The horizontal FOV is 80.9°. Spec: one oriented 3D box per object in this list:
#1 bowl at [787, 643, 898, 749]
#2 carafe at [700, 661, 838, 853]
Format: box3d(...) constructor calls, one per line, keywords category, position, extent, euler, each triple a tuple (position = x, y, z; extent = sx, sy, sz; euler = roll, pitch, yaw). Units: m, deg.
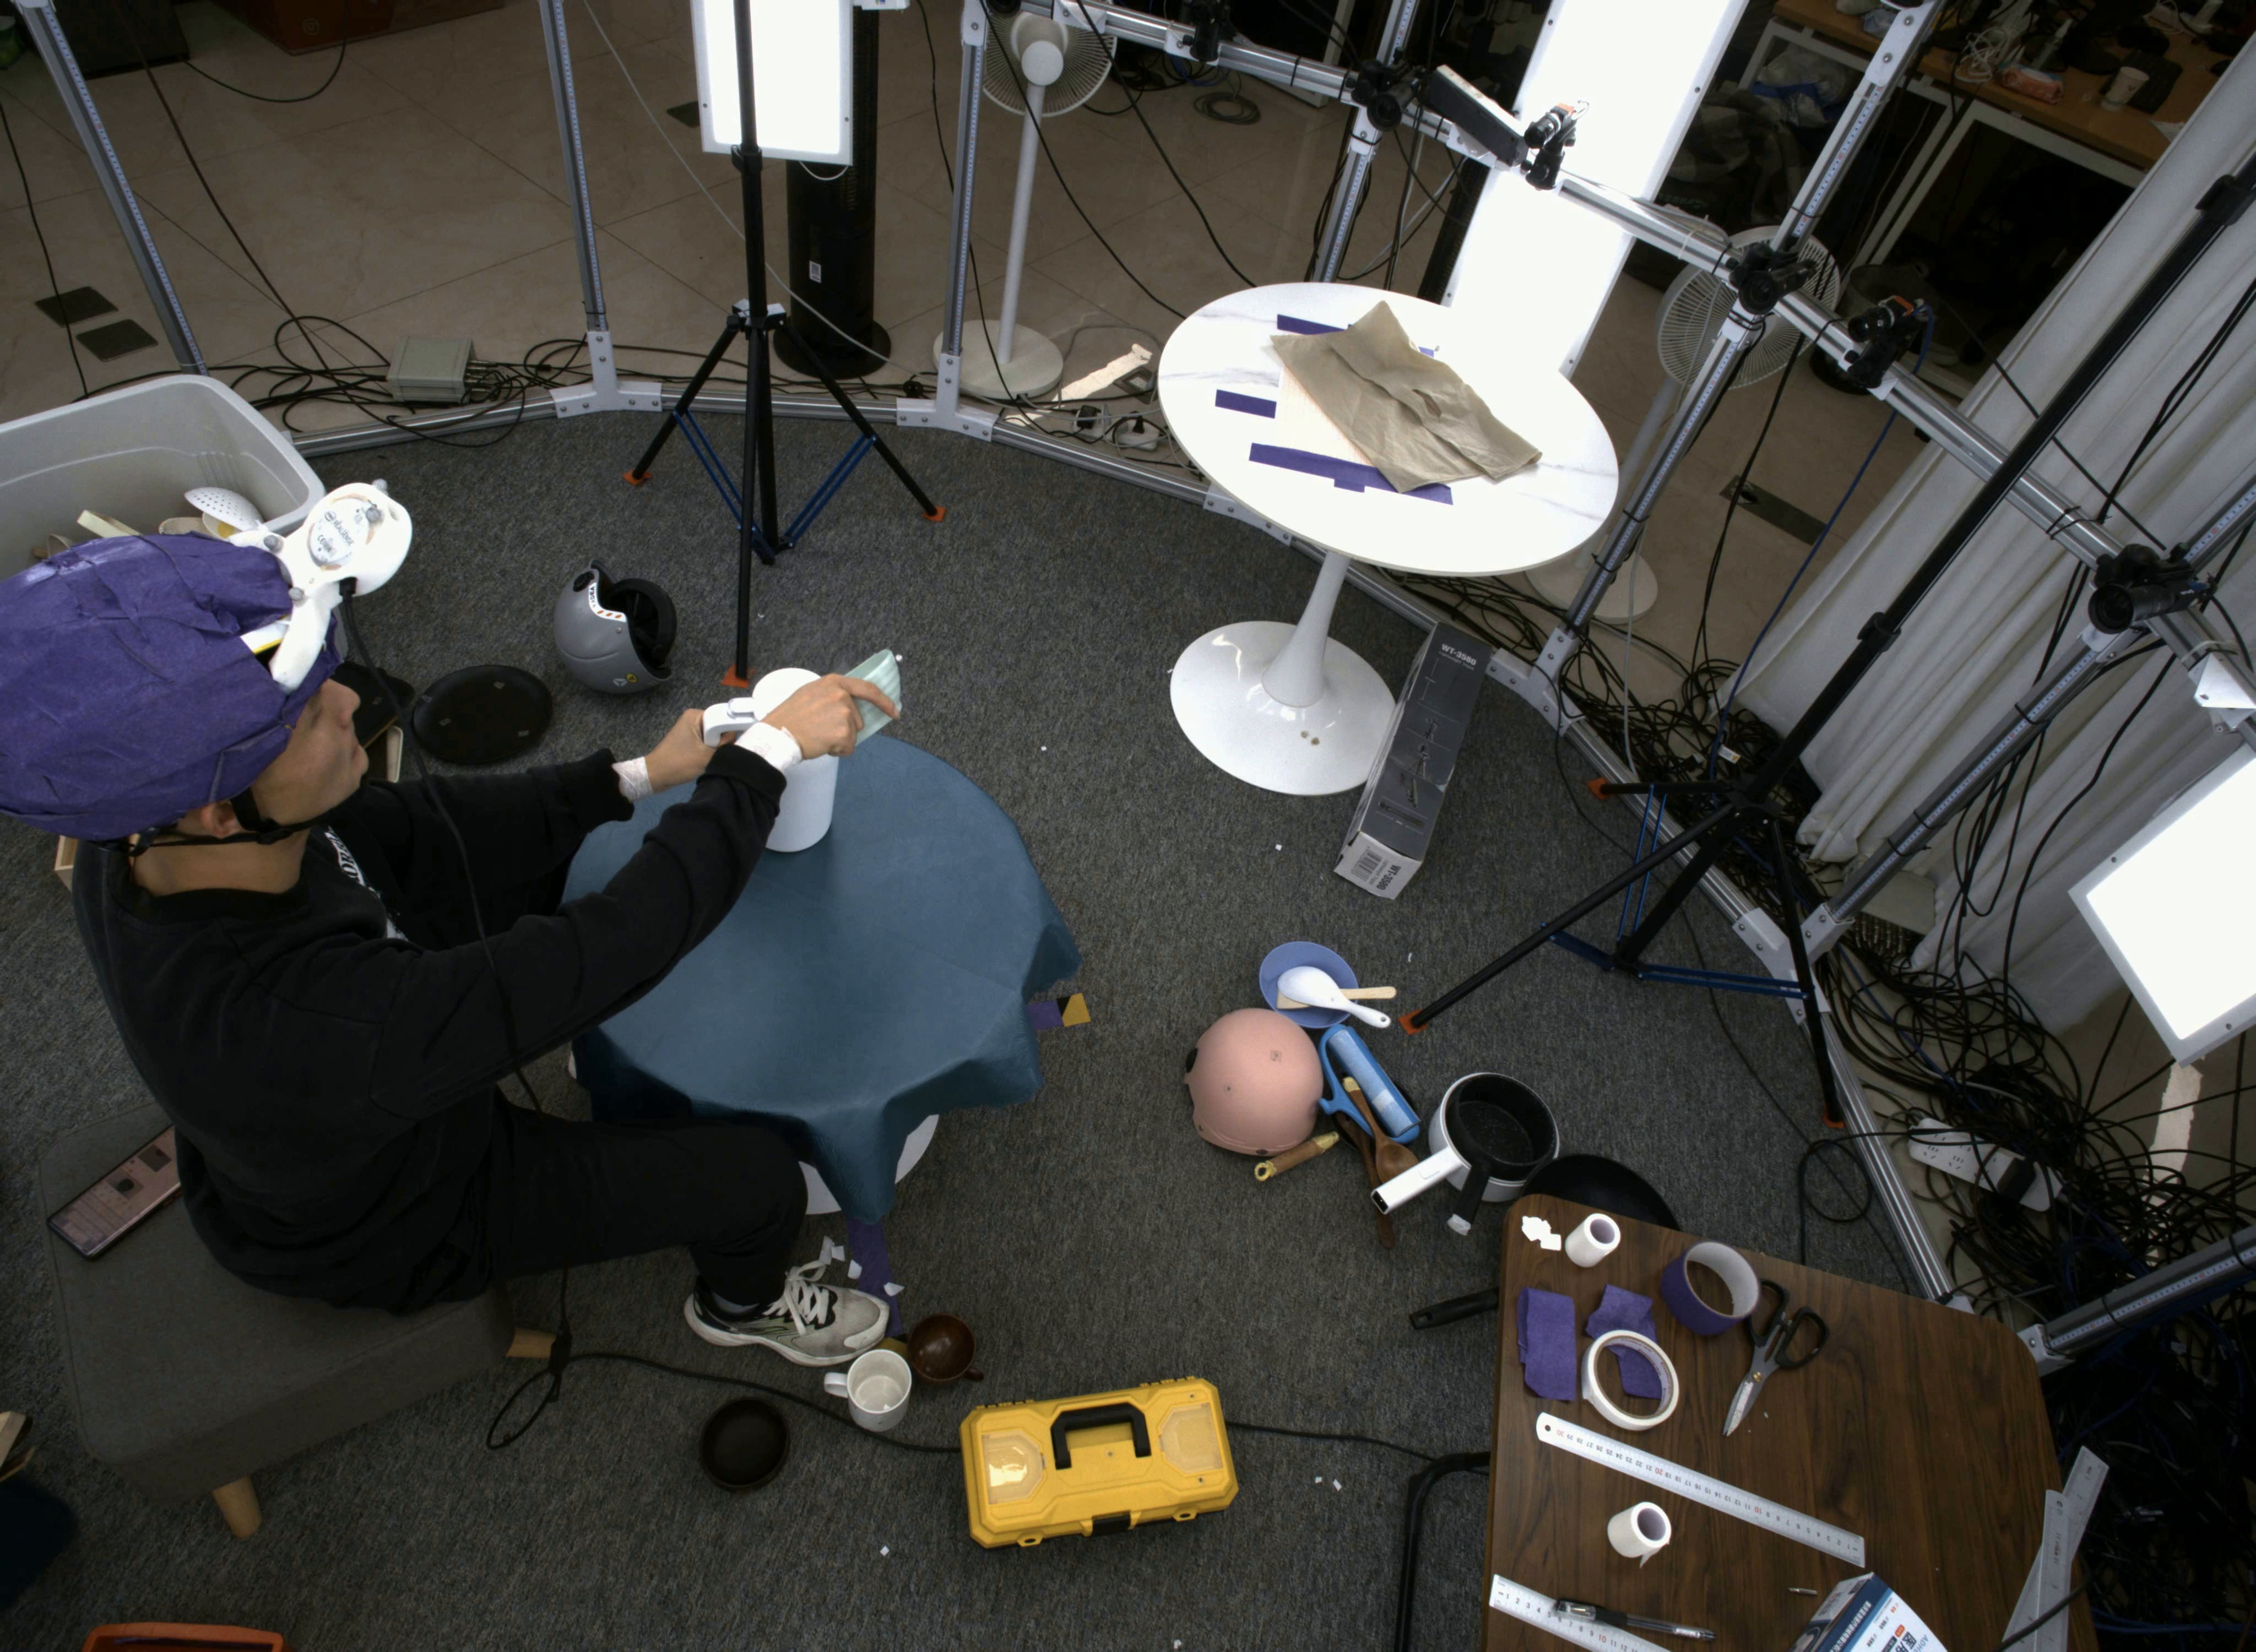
box3d(category="bowl", position=(-0.305, -0.136, 1.436), extent=(0.060, 0.148, 0.151), euler=(53, 50, -19))
box3d(category="carafe", position=(-0.438, -0.079, 1.597), extent=(0.174, 0.272, 0.122), euler=(-7, 64, -21))
